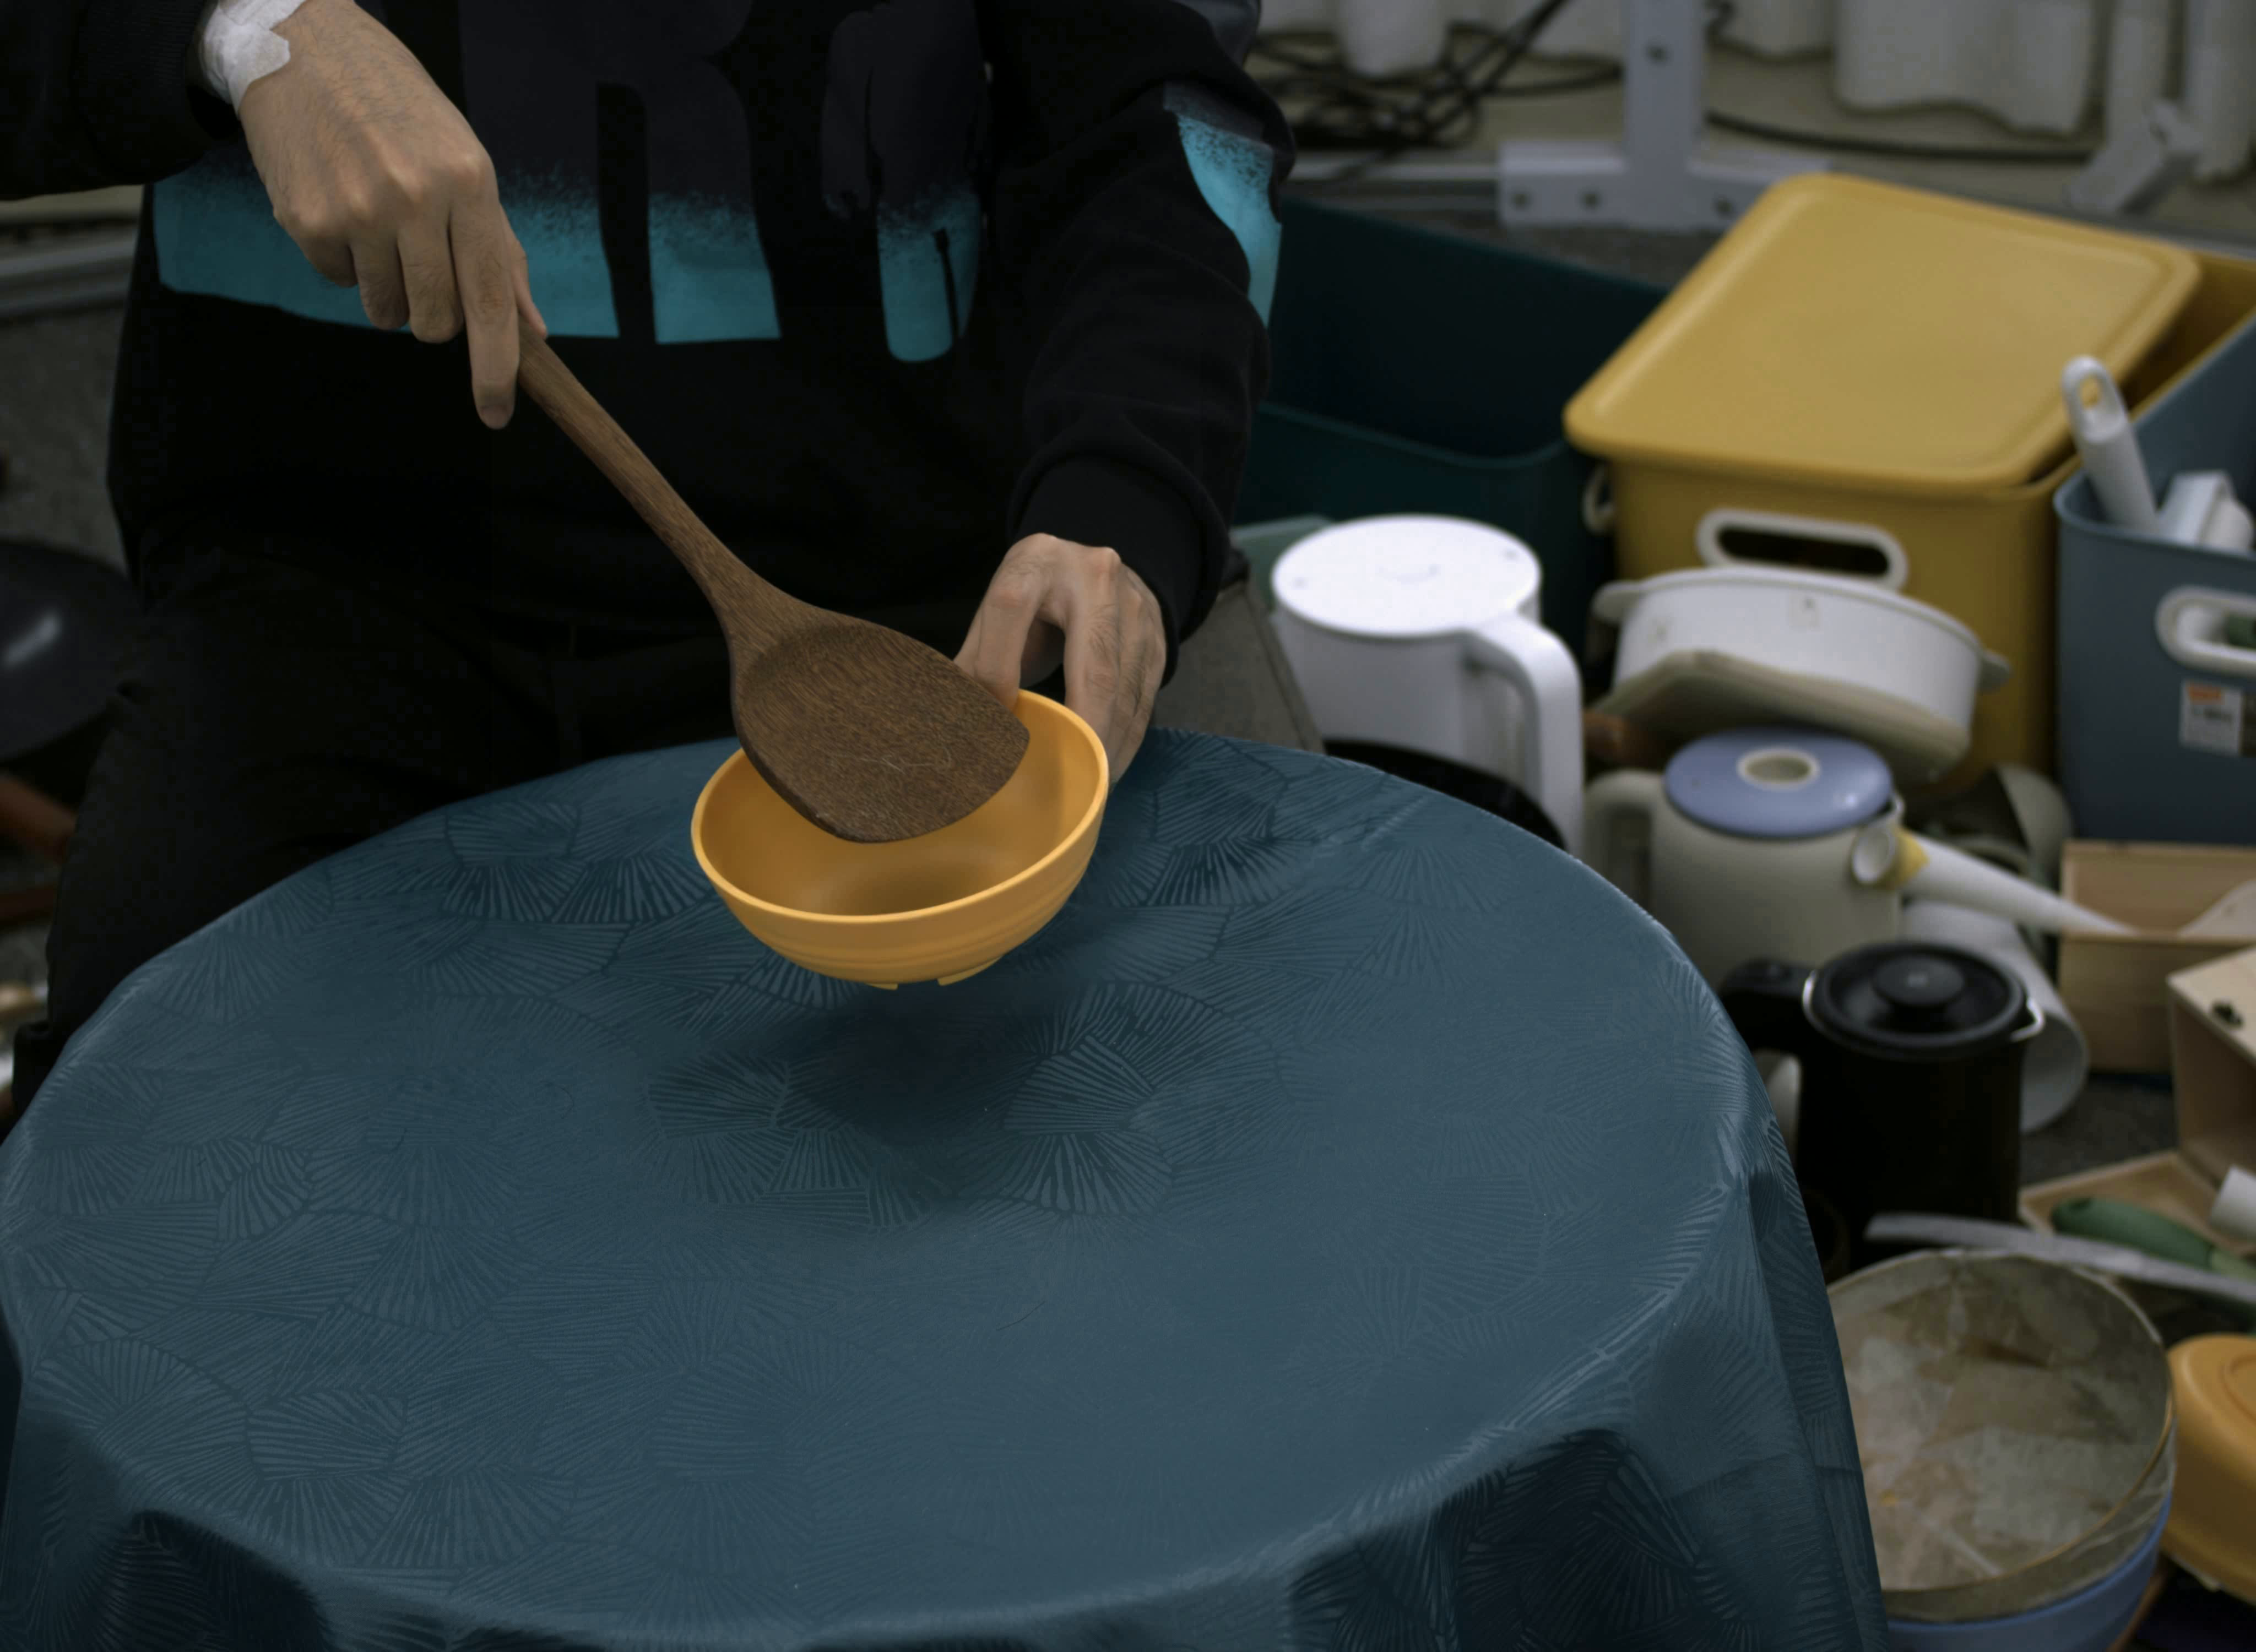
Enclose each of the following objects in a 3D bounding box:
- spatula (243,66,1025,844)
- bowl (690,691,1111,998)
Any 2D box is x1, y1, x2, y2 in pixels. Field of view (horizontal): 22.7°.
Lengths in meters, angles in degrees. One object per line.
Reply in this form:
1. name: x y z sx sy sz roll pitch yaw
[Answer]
1. spatula: -0.185 -0.136 1.961 0.097 0.015 0.388 -29 69 -39
2. bowl: -0.074 0.016 1.925 0.144 0.059 0.148 -5 32 3
